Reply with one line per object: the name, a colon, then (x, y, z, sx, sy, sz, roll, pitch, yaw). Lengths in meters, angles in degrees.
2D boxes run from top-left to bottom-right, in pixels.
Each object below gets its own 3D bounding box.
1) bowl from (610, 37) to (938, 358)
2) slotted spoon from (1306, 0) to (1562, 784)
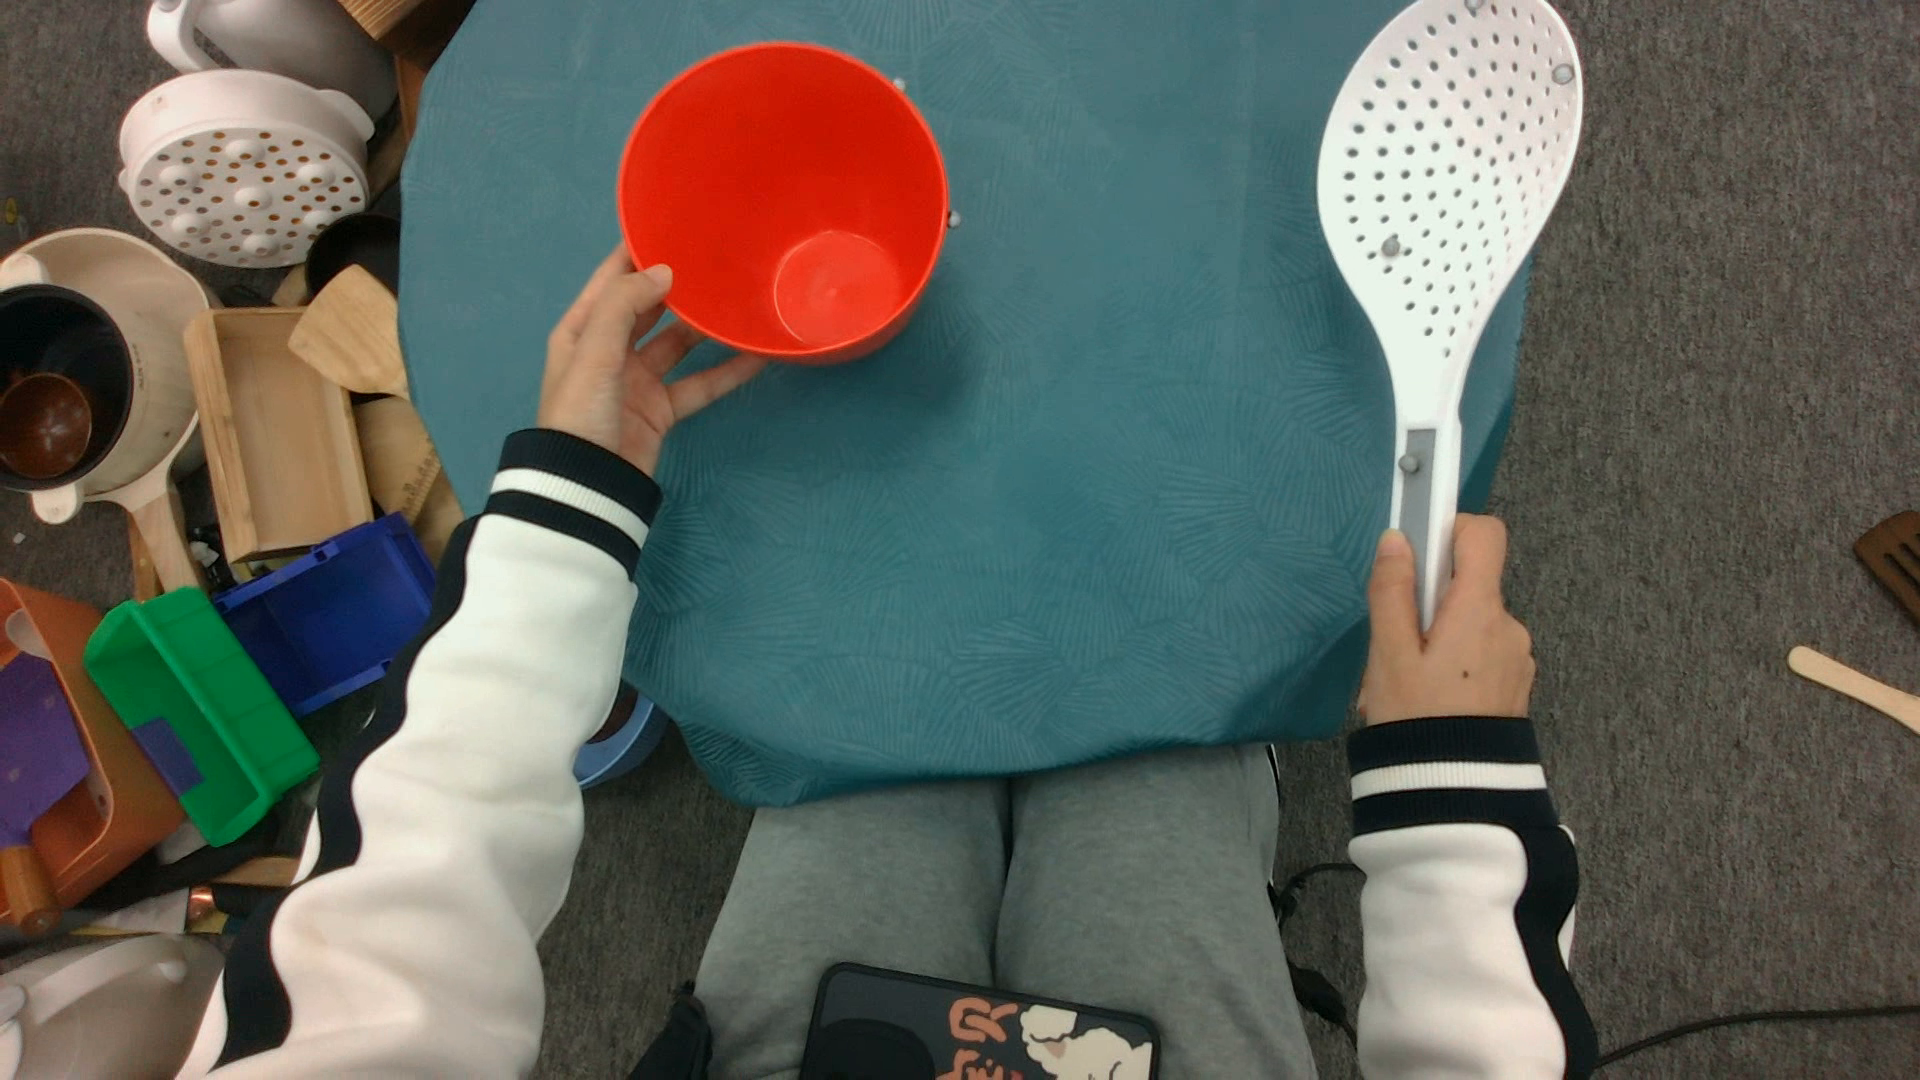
bowl: (-0.082, -0.150, 0.664, 0.148, 0.104, 0.148, 0, 74, 2)
slotted spoon: (0.201, -0.068, 0.607, 0.046, 0.136, 0.350, 10, 86, -32)
